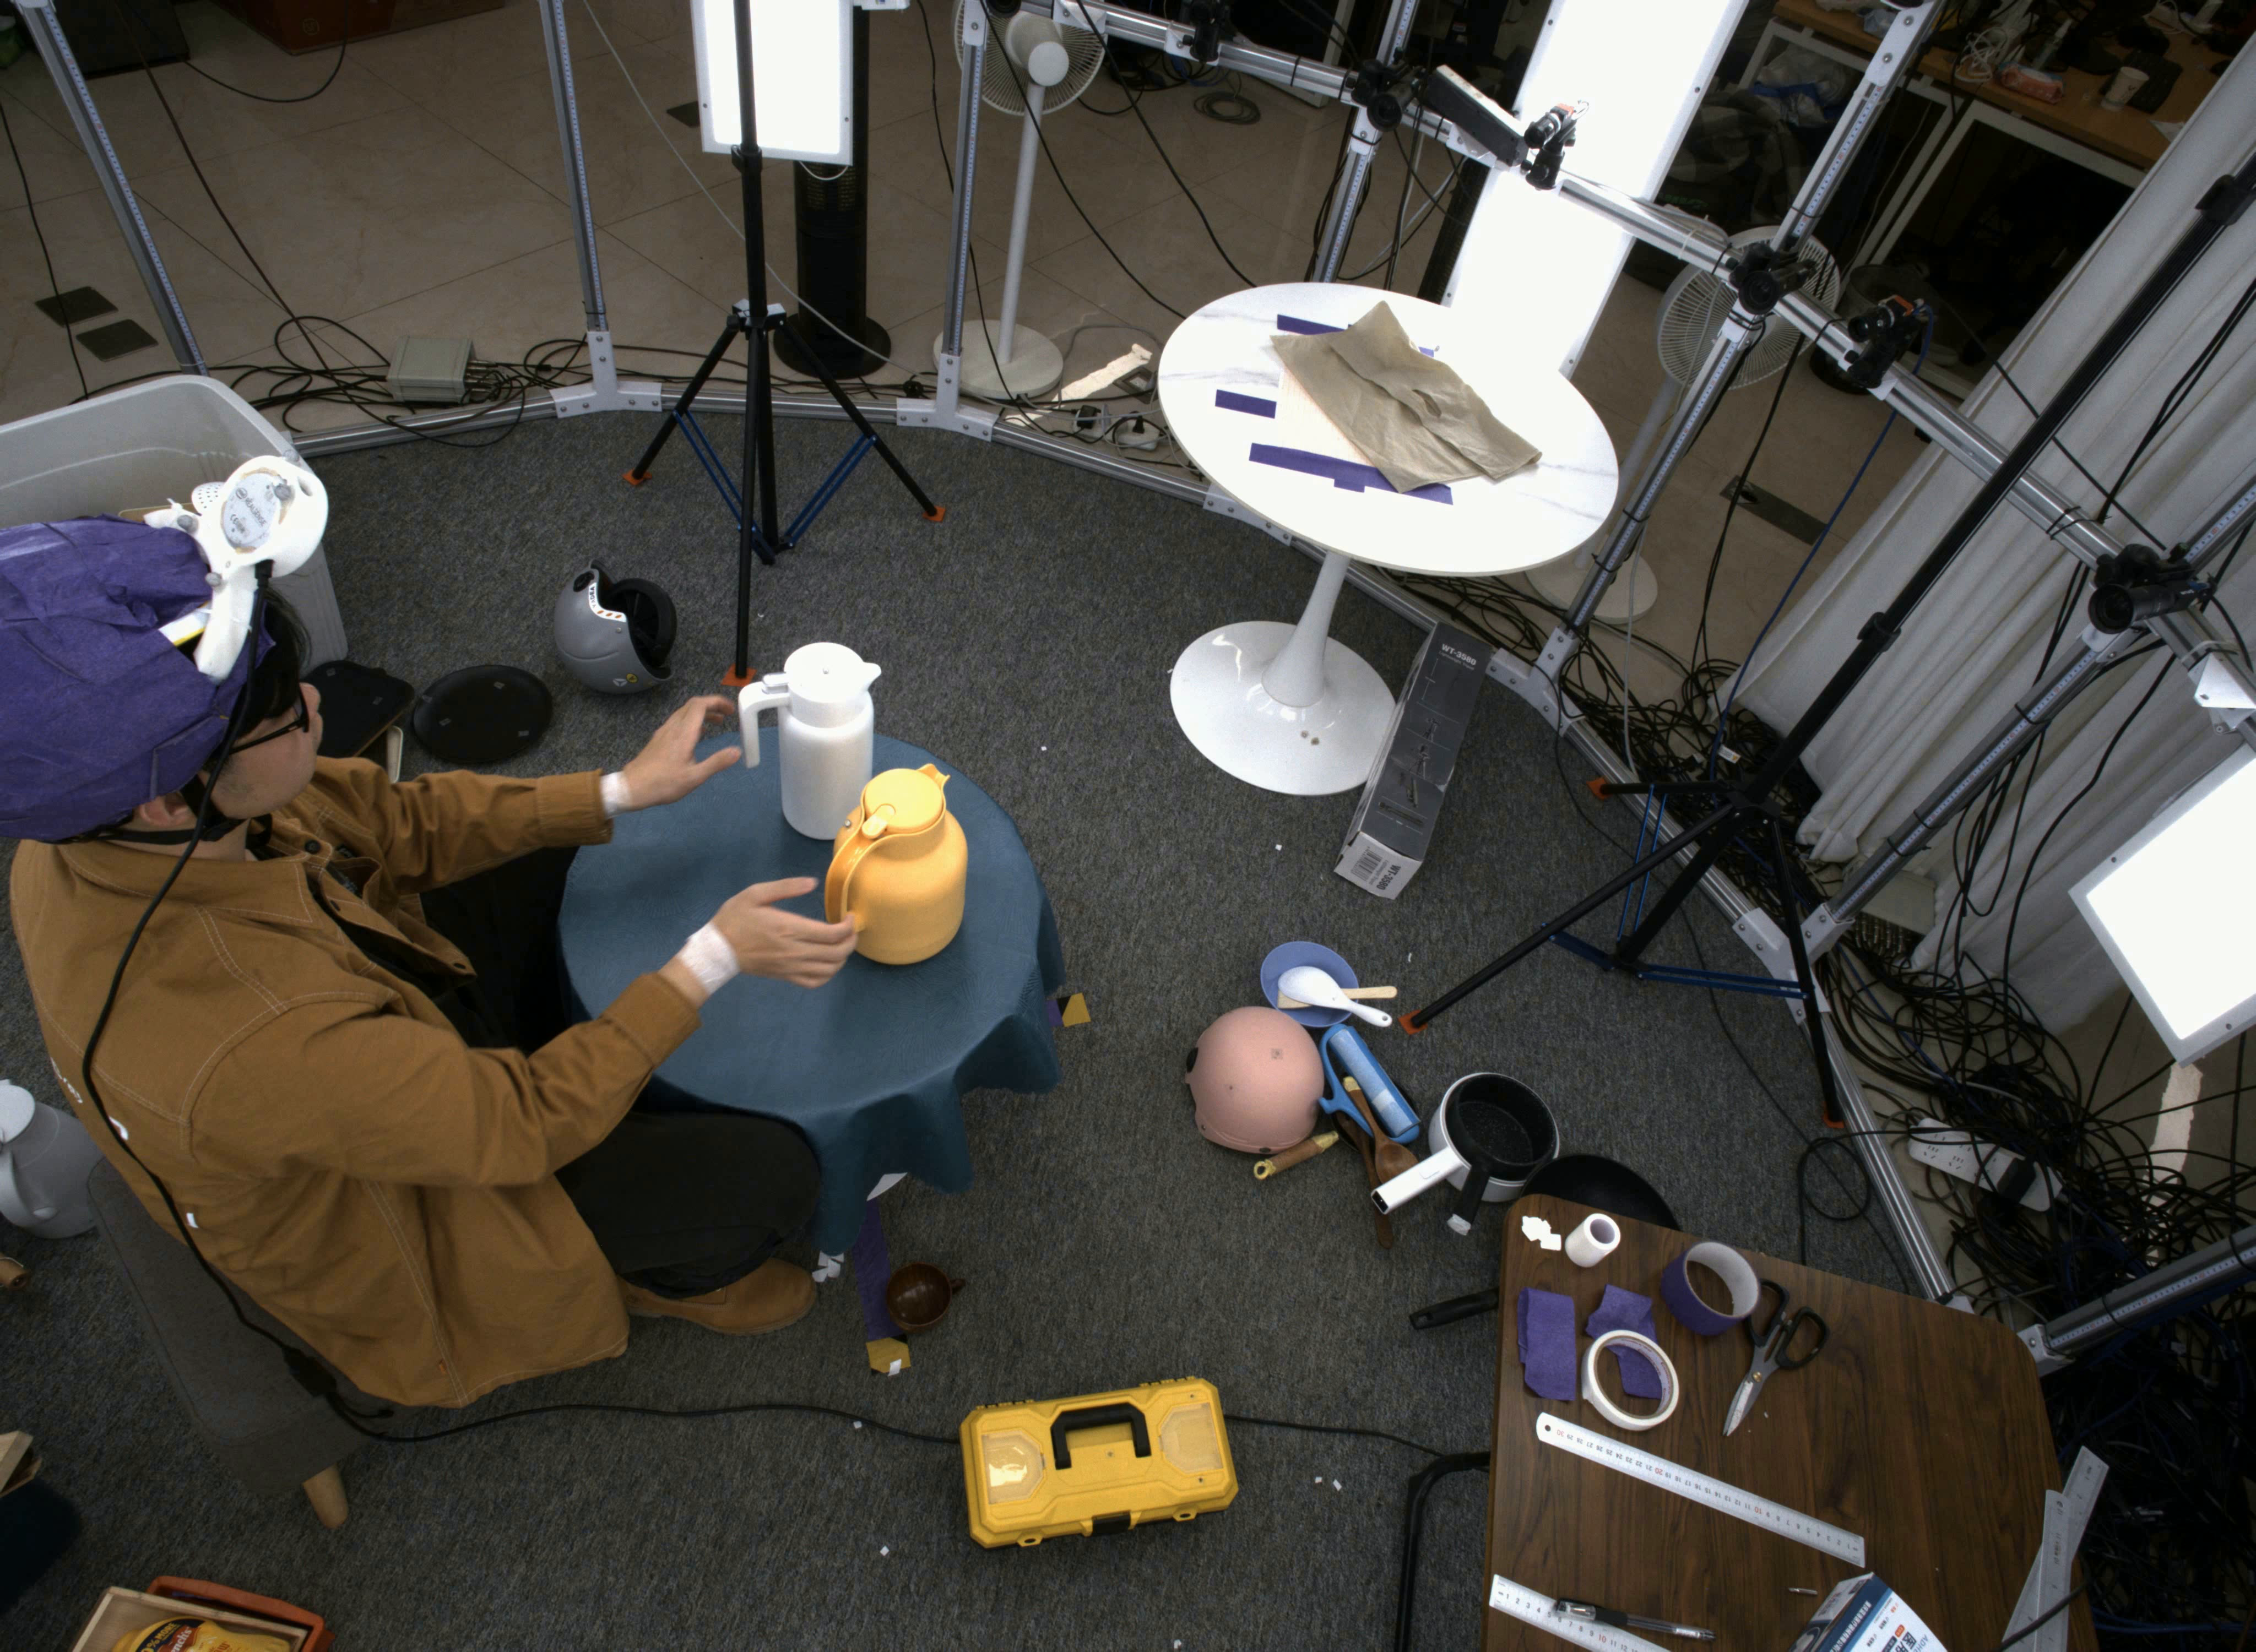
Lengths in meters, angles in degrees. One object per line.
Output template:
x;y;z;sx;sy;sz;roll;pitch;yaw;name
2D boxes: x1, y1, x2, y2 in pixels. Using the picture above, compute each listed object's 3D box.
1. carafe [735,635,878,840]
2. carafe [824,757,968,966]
-0.400;-0.104;1.632;0.173;0.274;0.121;-13;58;-21;carafe
-0.285;0.049;1.551;0.159;0.267;0.202;31;51;17;carafe
